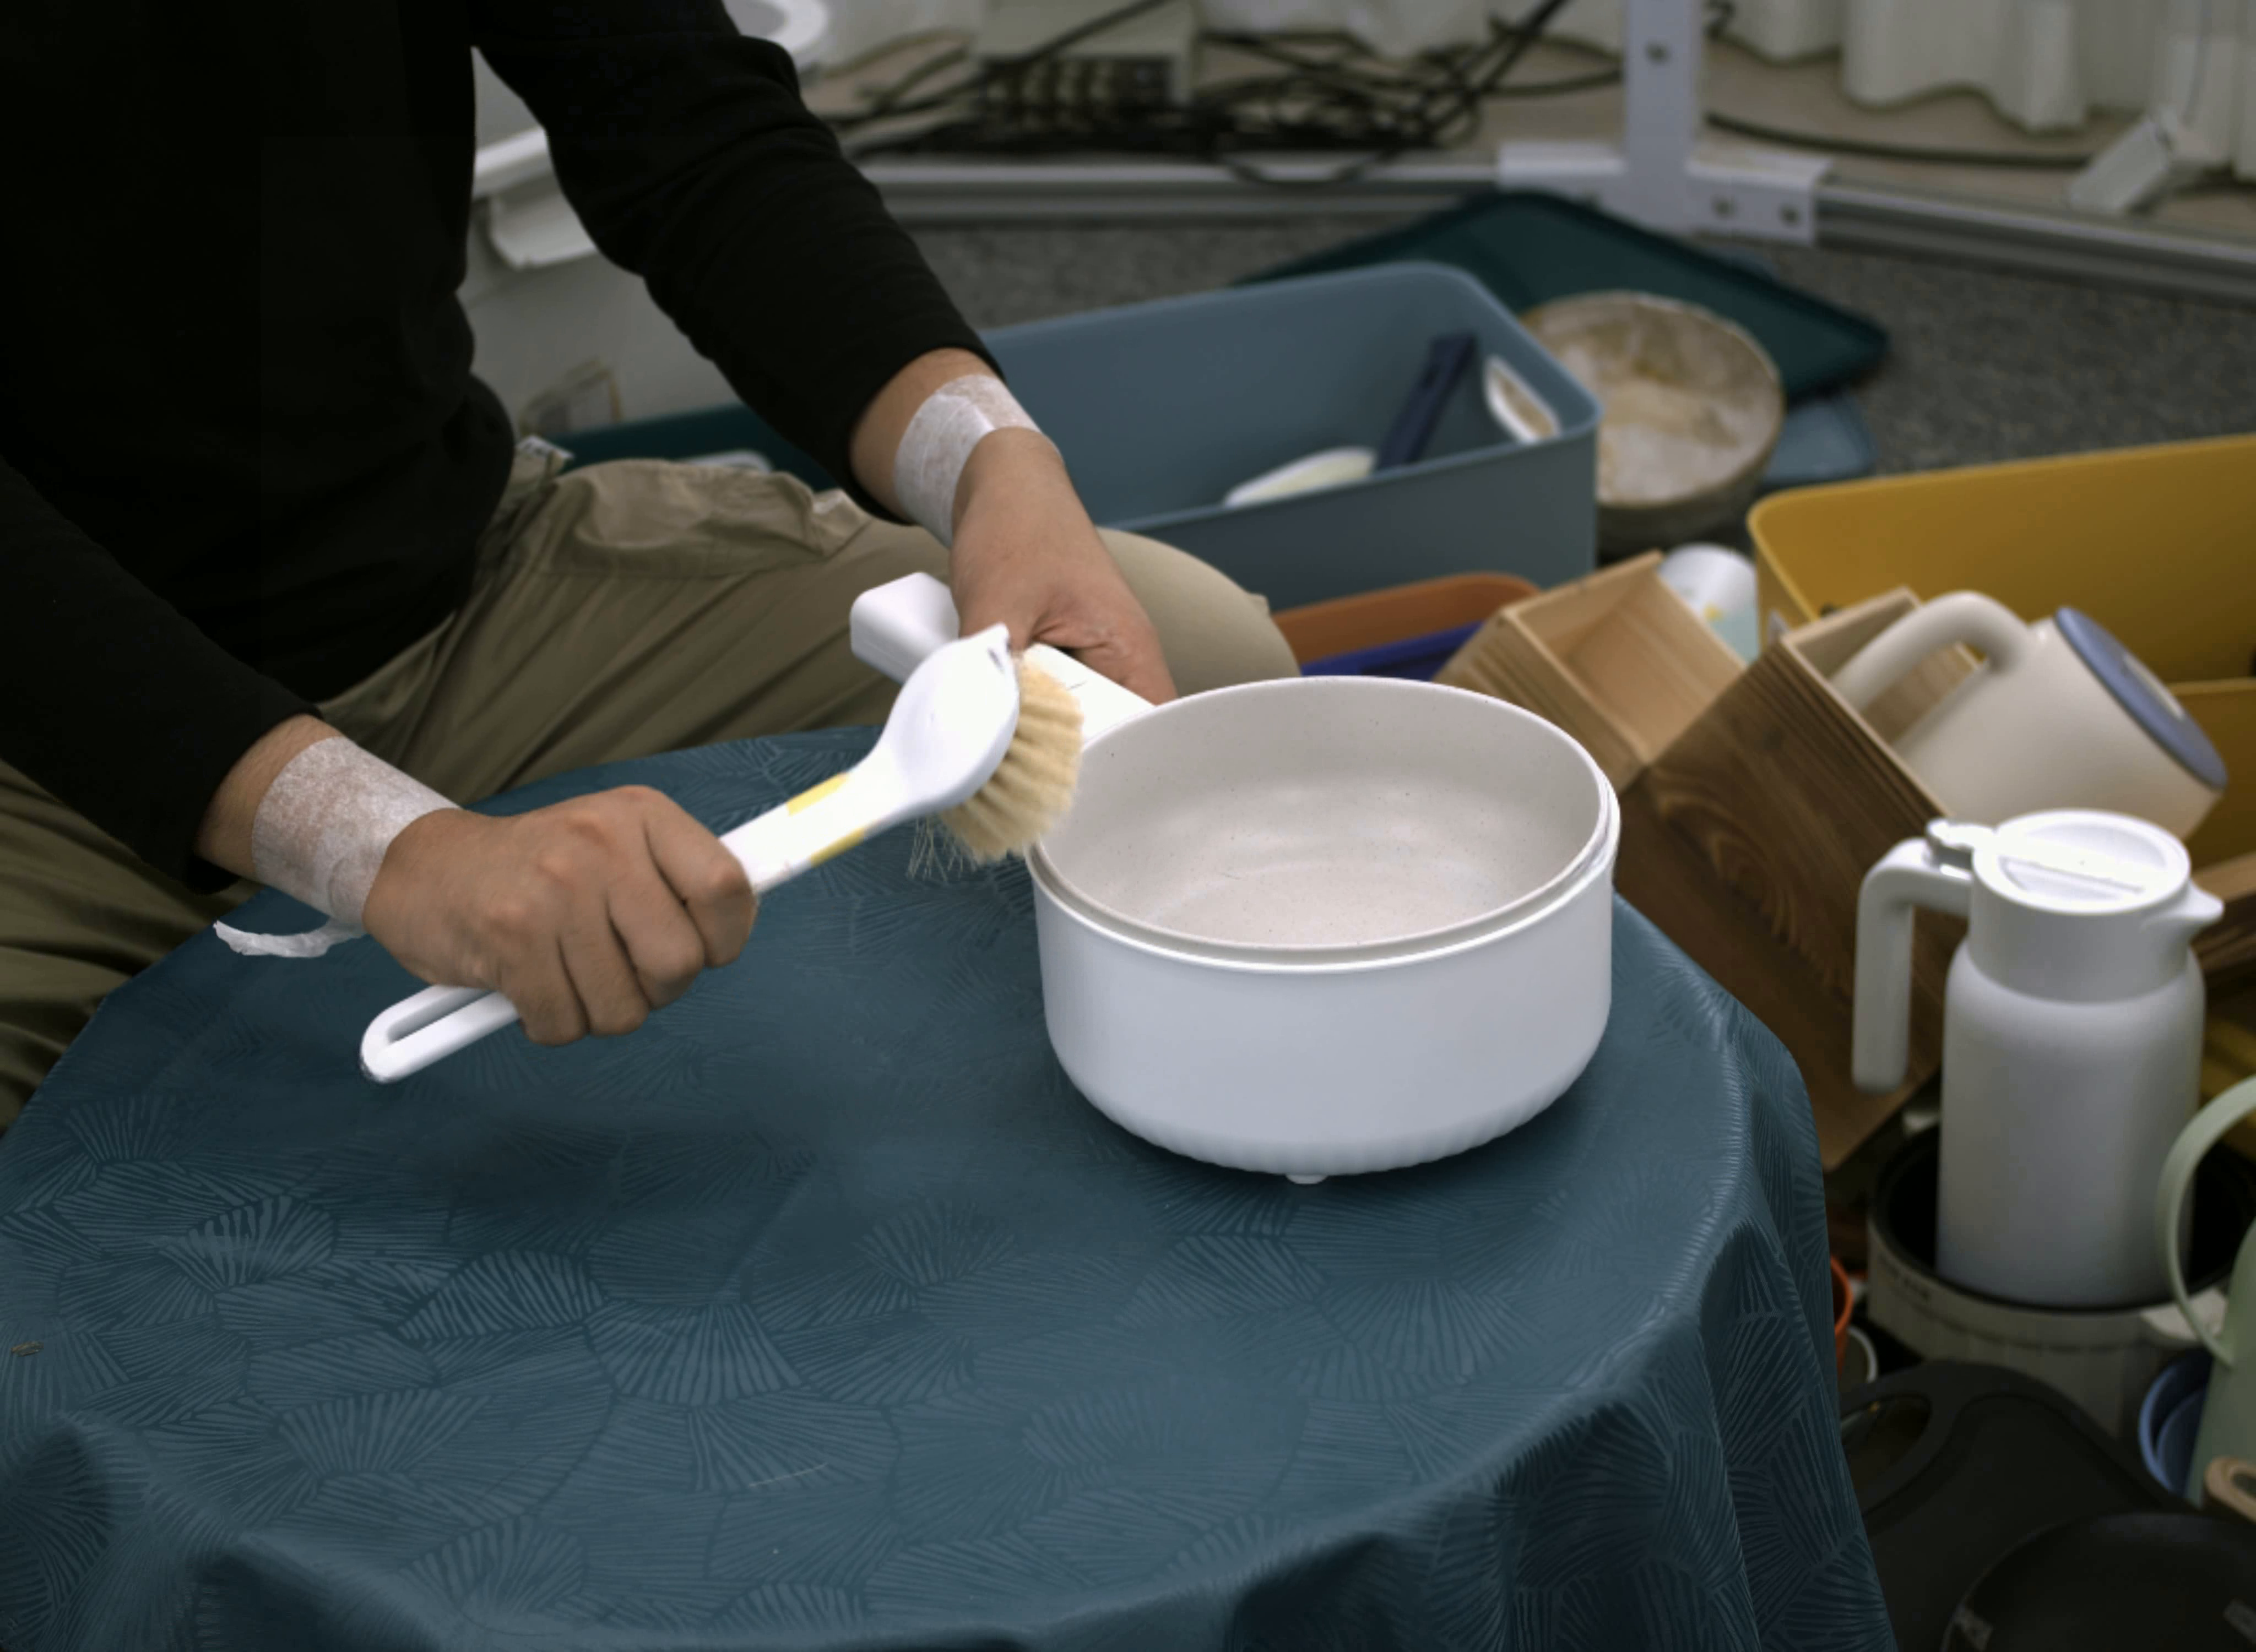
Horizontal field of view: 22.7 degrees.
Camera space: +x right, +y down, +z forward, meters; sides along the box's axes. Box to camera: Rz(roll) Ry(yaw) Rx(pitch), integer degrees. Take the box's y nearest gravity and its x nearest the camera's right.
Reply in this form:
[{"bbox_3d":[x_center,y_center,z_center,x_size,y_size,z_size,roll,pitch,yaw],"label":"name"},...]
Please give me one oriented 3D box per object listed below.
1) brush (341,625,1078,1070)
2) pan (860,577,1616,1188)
[{"bbox_3d":[-0.134,0.022,1.849,0.265,0.055,0.069,-31,38,6],"label":"brush"},{"bbox_3d":[0.021,0.013,1.965,0.203,0.101,0.355,-22,32,-31],"label":"pan"}]
